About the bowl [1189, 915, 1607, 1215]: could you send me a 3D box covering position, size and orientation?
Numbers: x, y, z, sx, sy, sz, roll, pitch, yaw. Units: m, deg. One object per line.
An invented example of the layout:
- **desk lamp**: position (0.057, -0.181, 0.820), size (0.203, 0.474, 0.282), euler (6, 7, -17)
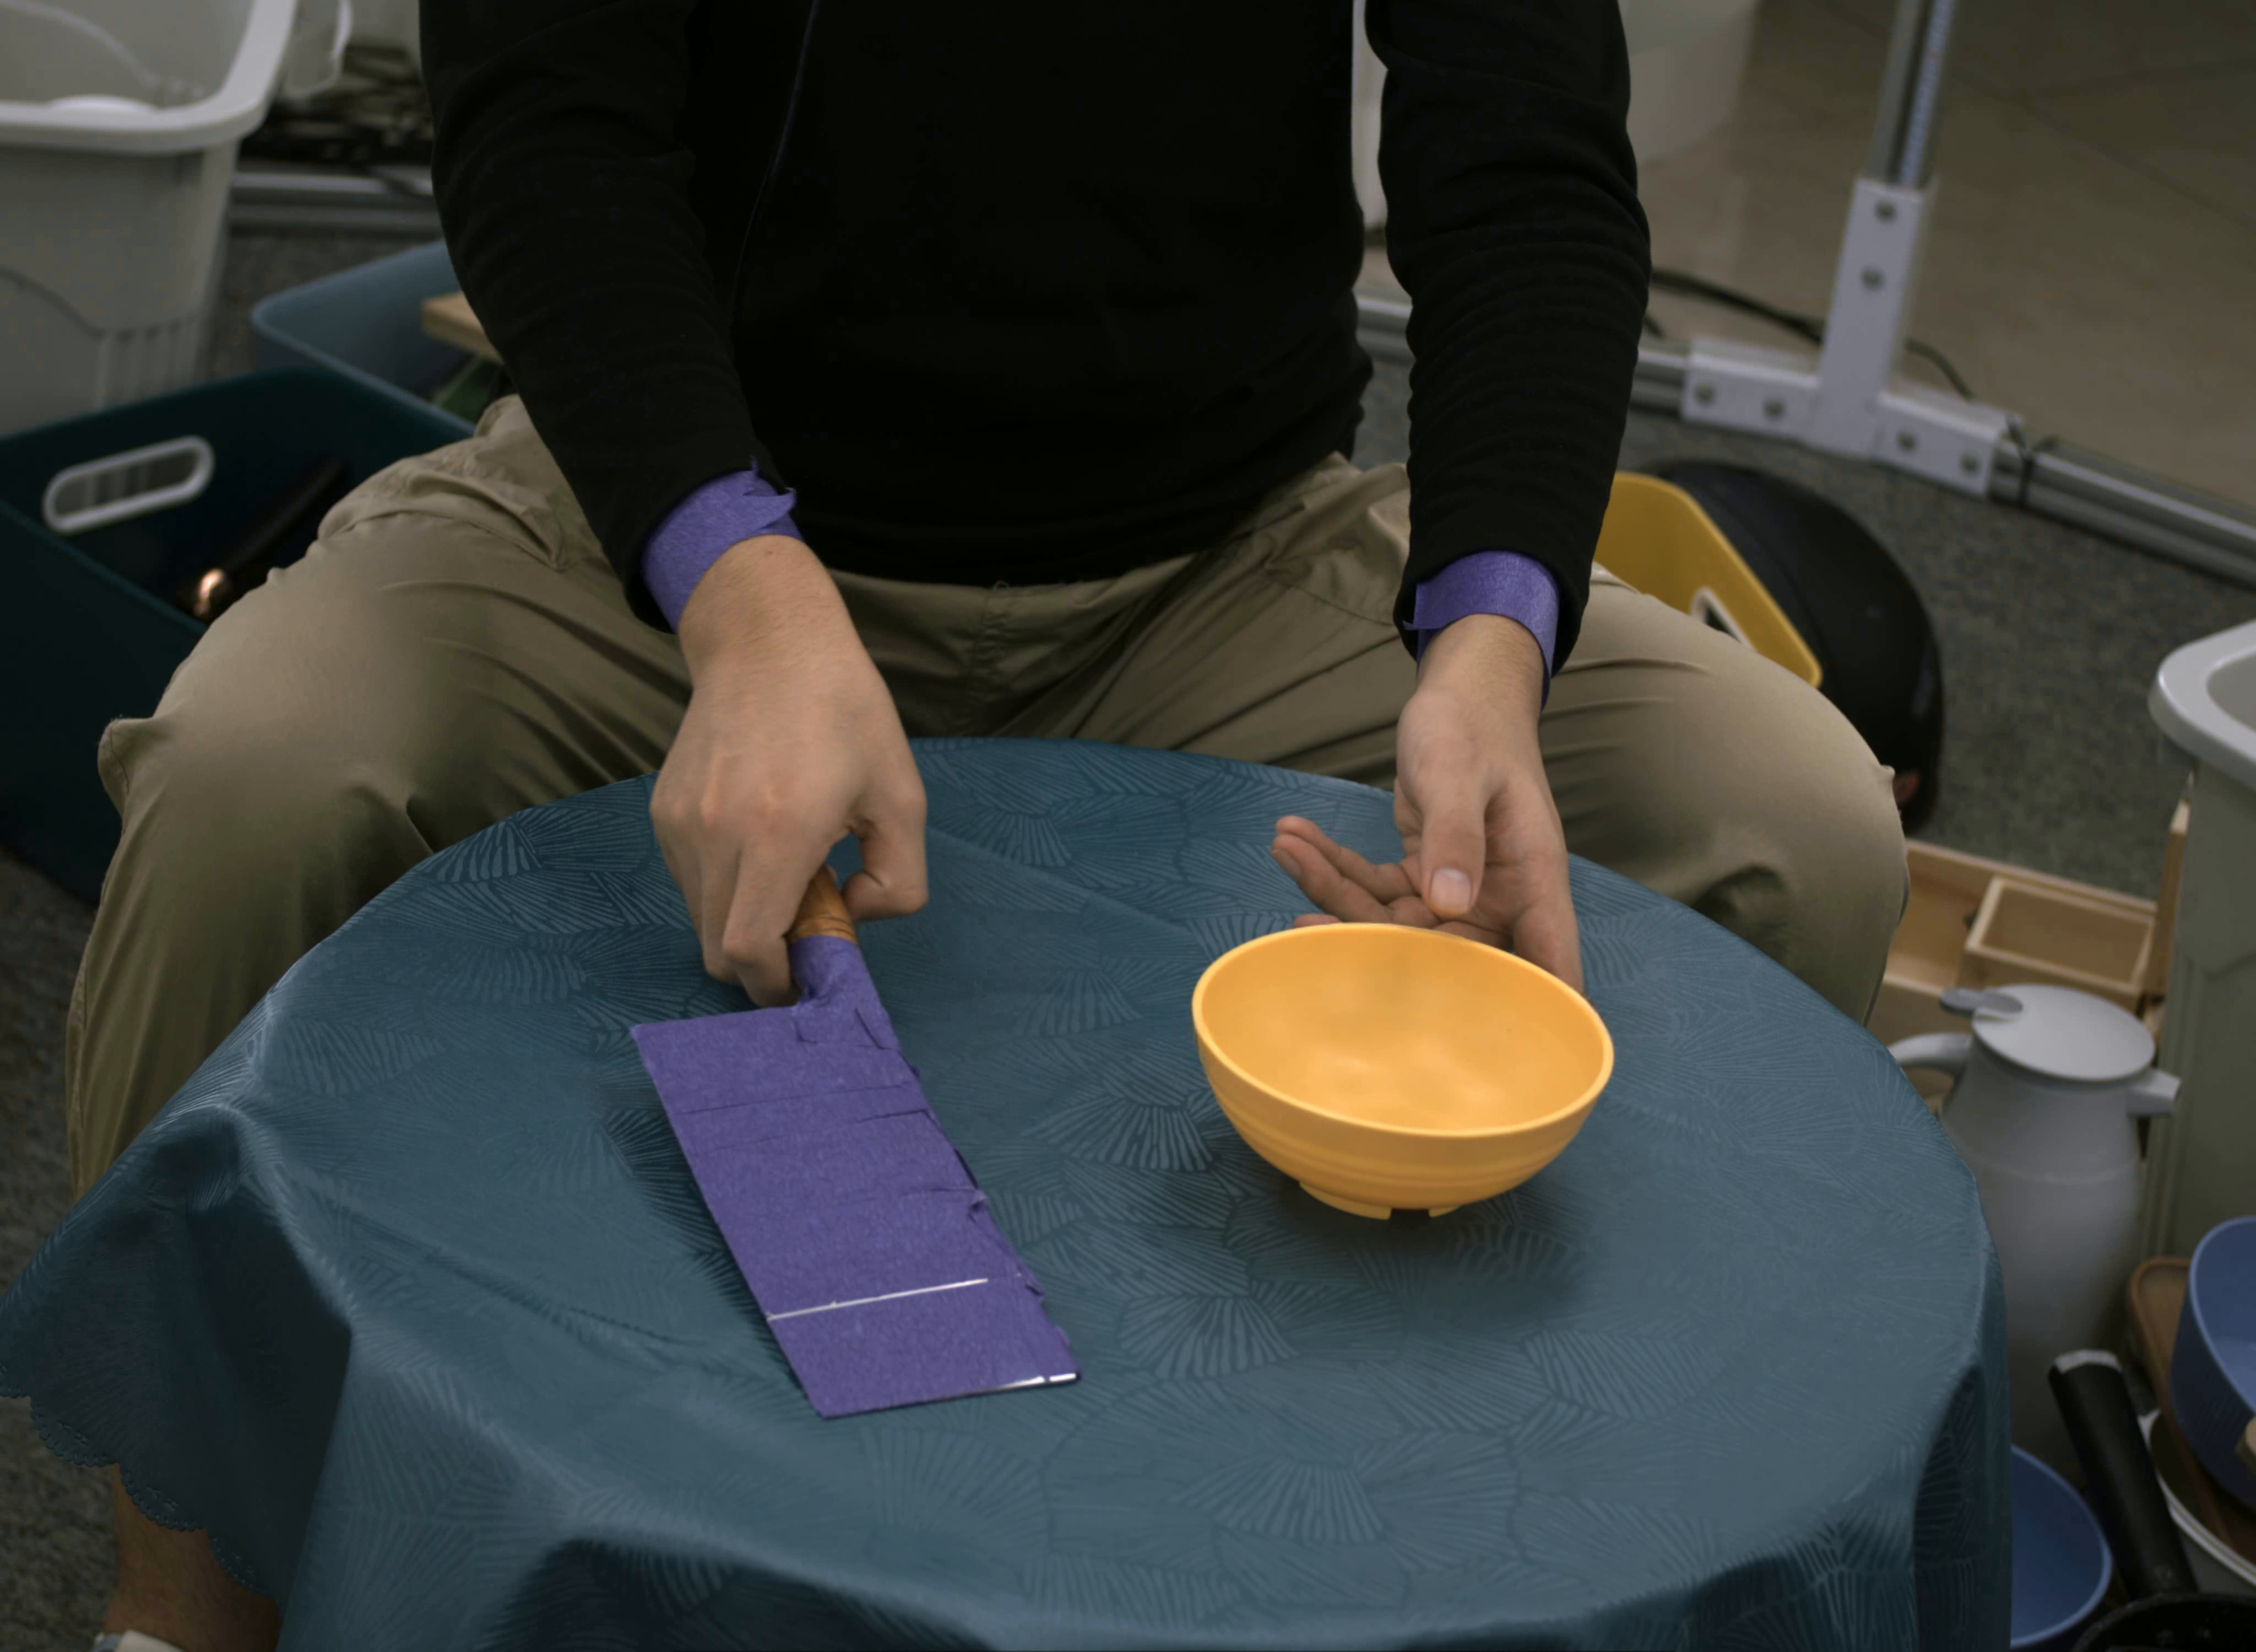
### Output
- **bowl**: position (0.088, 0.091, 1.822), size (0.145, 0.060, 0.146), euler (7, 27, -4)

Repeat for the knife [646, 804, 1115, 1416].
- **knife**: position (-0.107, 0.090, 1.793), size (0.103, 0.032, 0.318), euler (-5, 34, -22)
